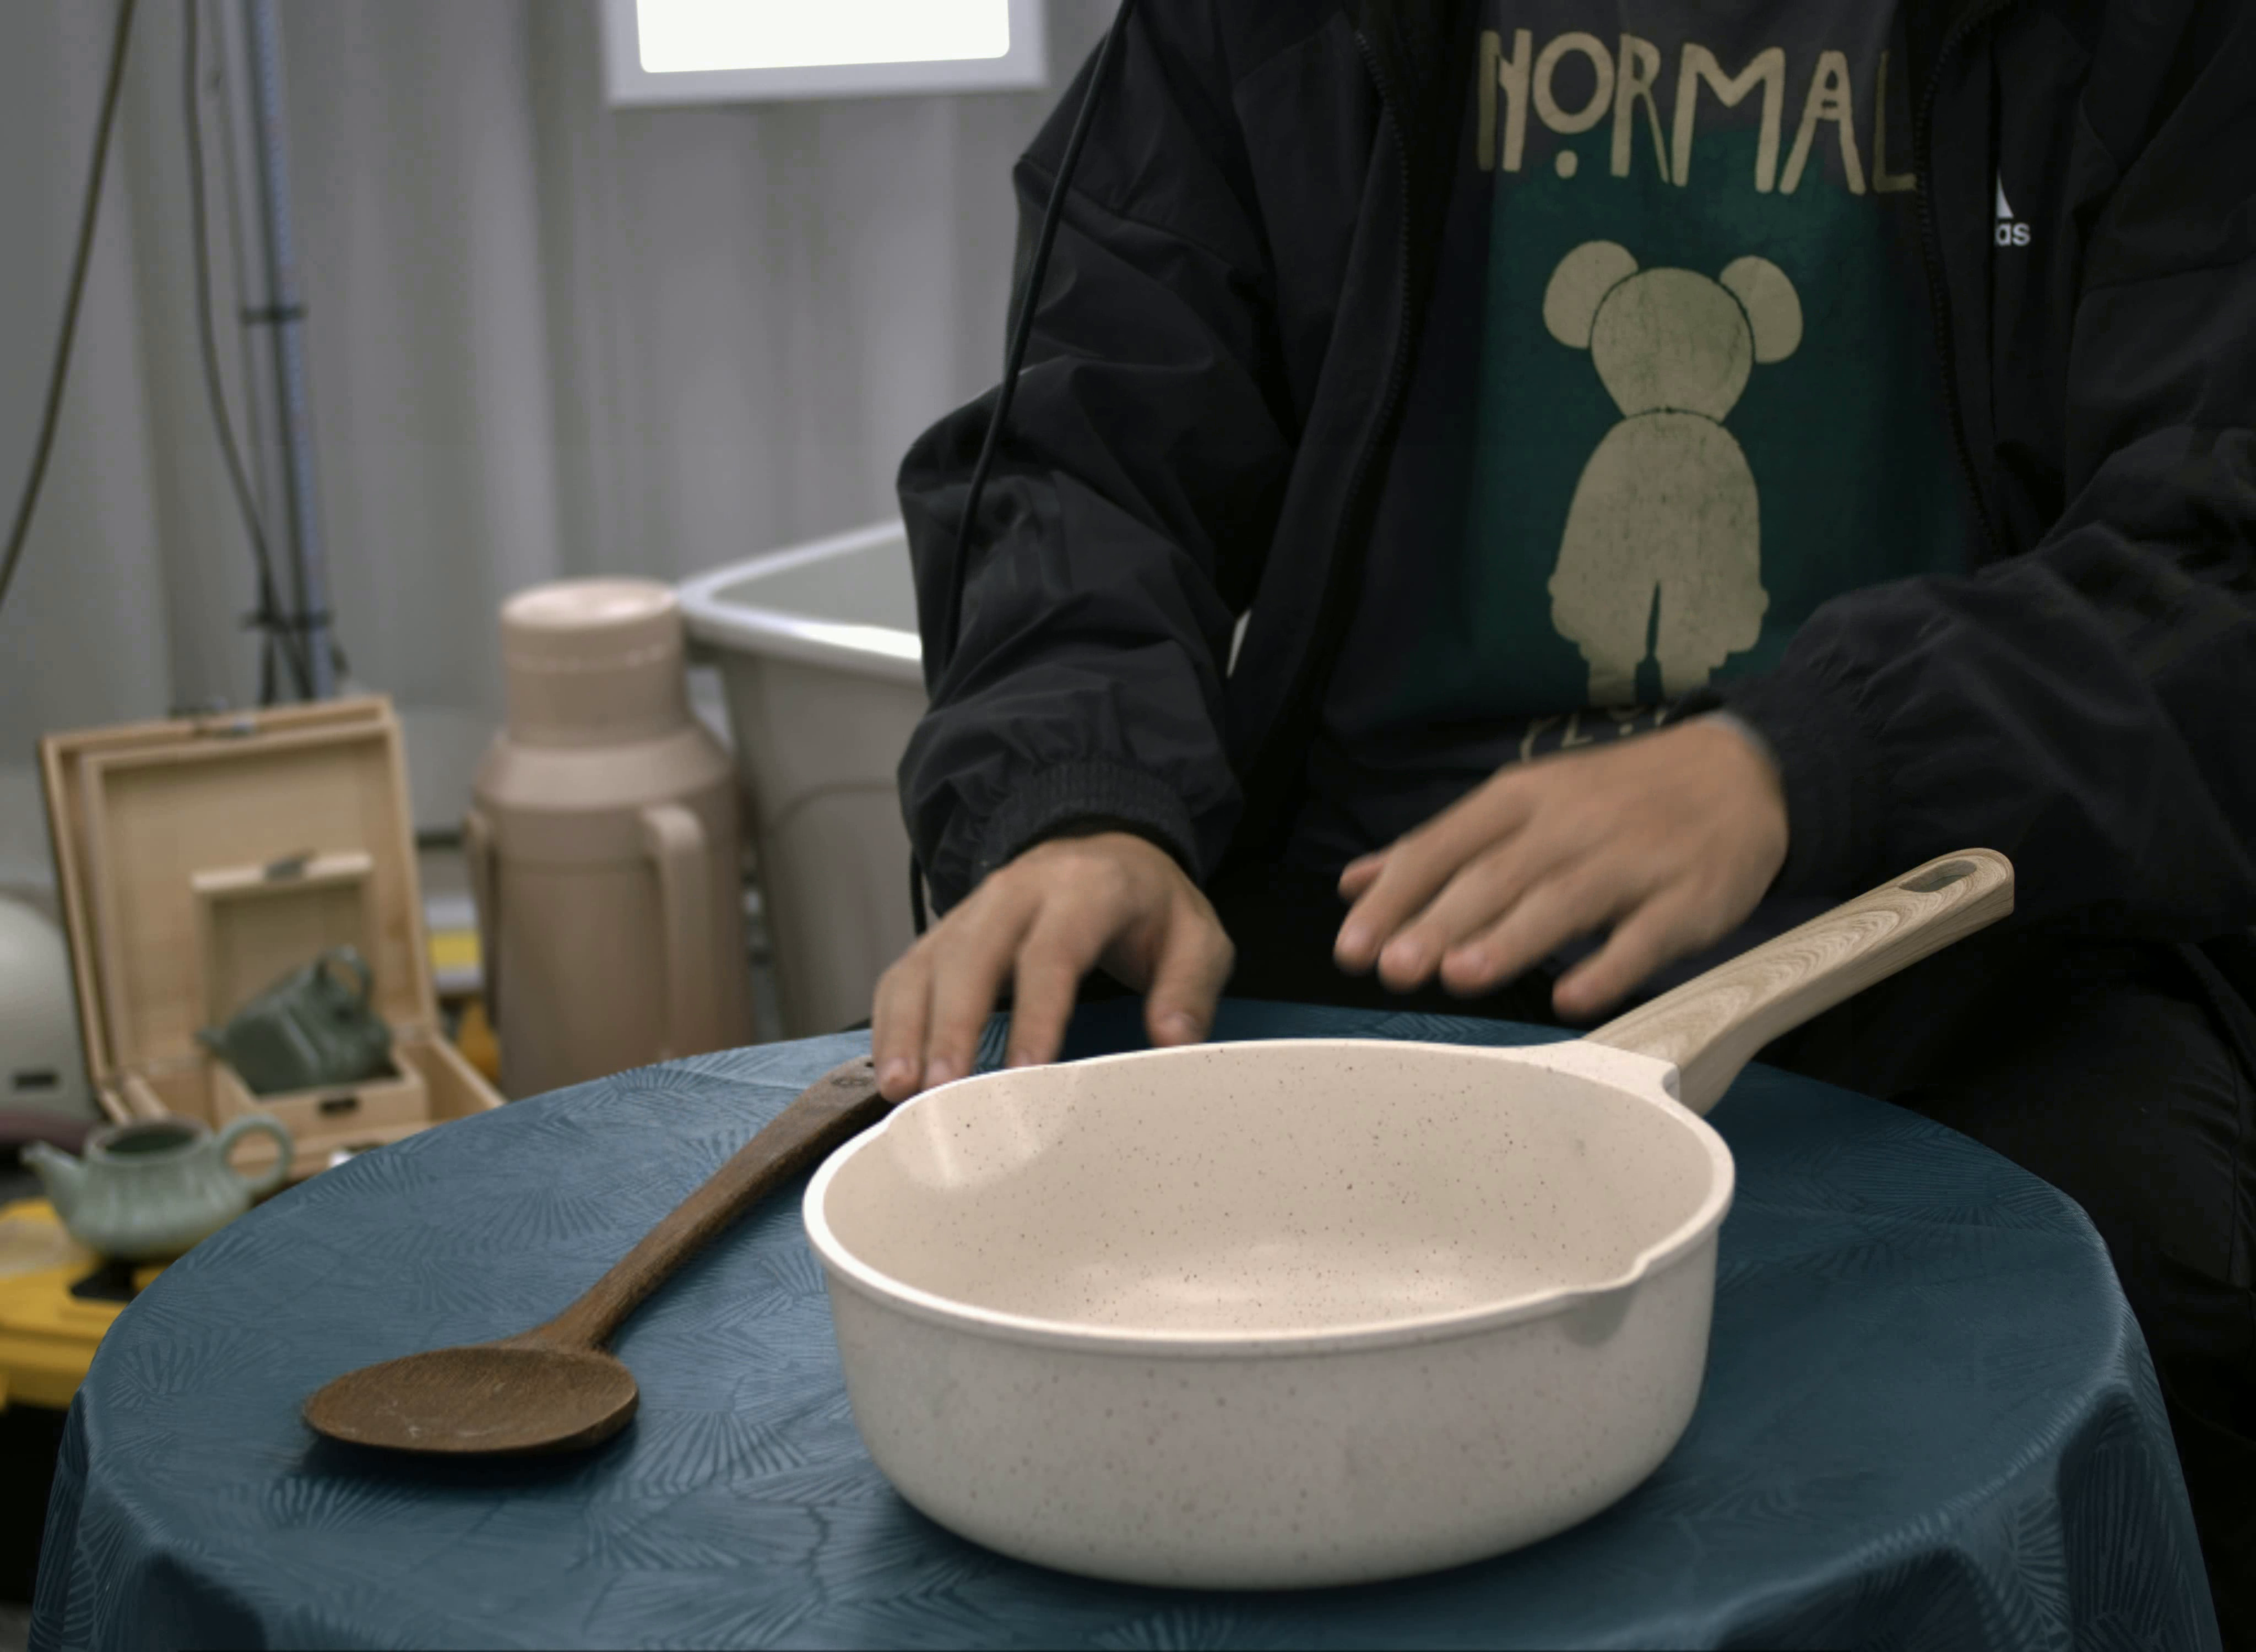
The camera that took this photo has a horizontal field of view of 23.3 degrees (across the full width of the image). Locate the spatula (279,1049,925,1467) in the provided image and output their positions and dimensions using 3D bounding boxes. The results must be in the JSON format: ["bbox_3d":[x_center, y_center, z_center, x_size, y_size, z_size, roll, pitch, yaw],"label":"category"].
[{"bbox_3d":[-0.138,0.125,1.672,0.096,0.016,0.387,3,16,18],"label":"spatula"}]

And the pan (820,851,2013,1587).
[{"bbox_3d":[0.111,0.105,1.533,0.434,0.101,0.265,-17,18,-40],"label":"pan"}]
